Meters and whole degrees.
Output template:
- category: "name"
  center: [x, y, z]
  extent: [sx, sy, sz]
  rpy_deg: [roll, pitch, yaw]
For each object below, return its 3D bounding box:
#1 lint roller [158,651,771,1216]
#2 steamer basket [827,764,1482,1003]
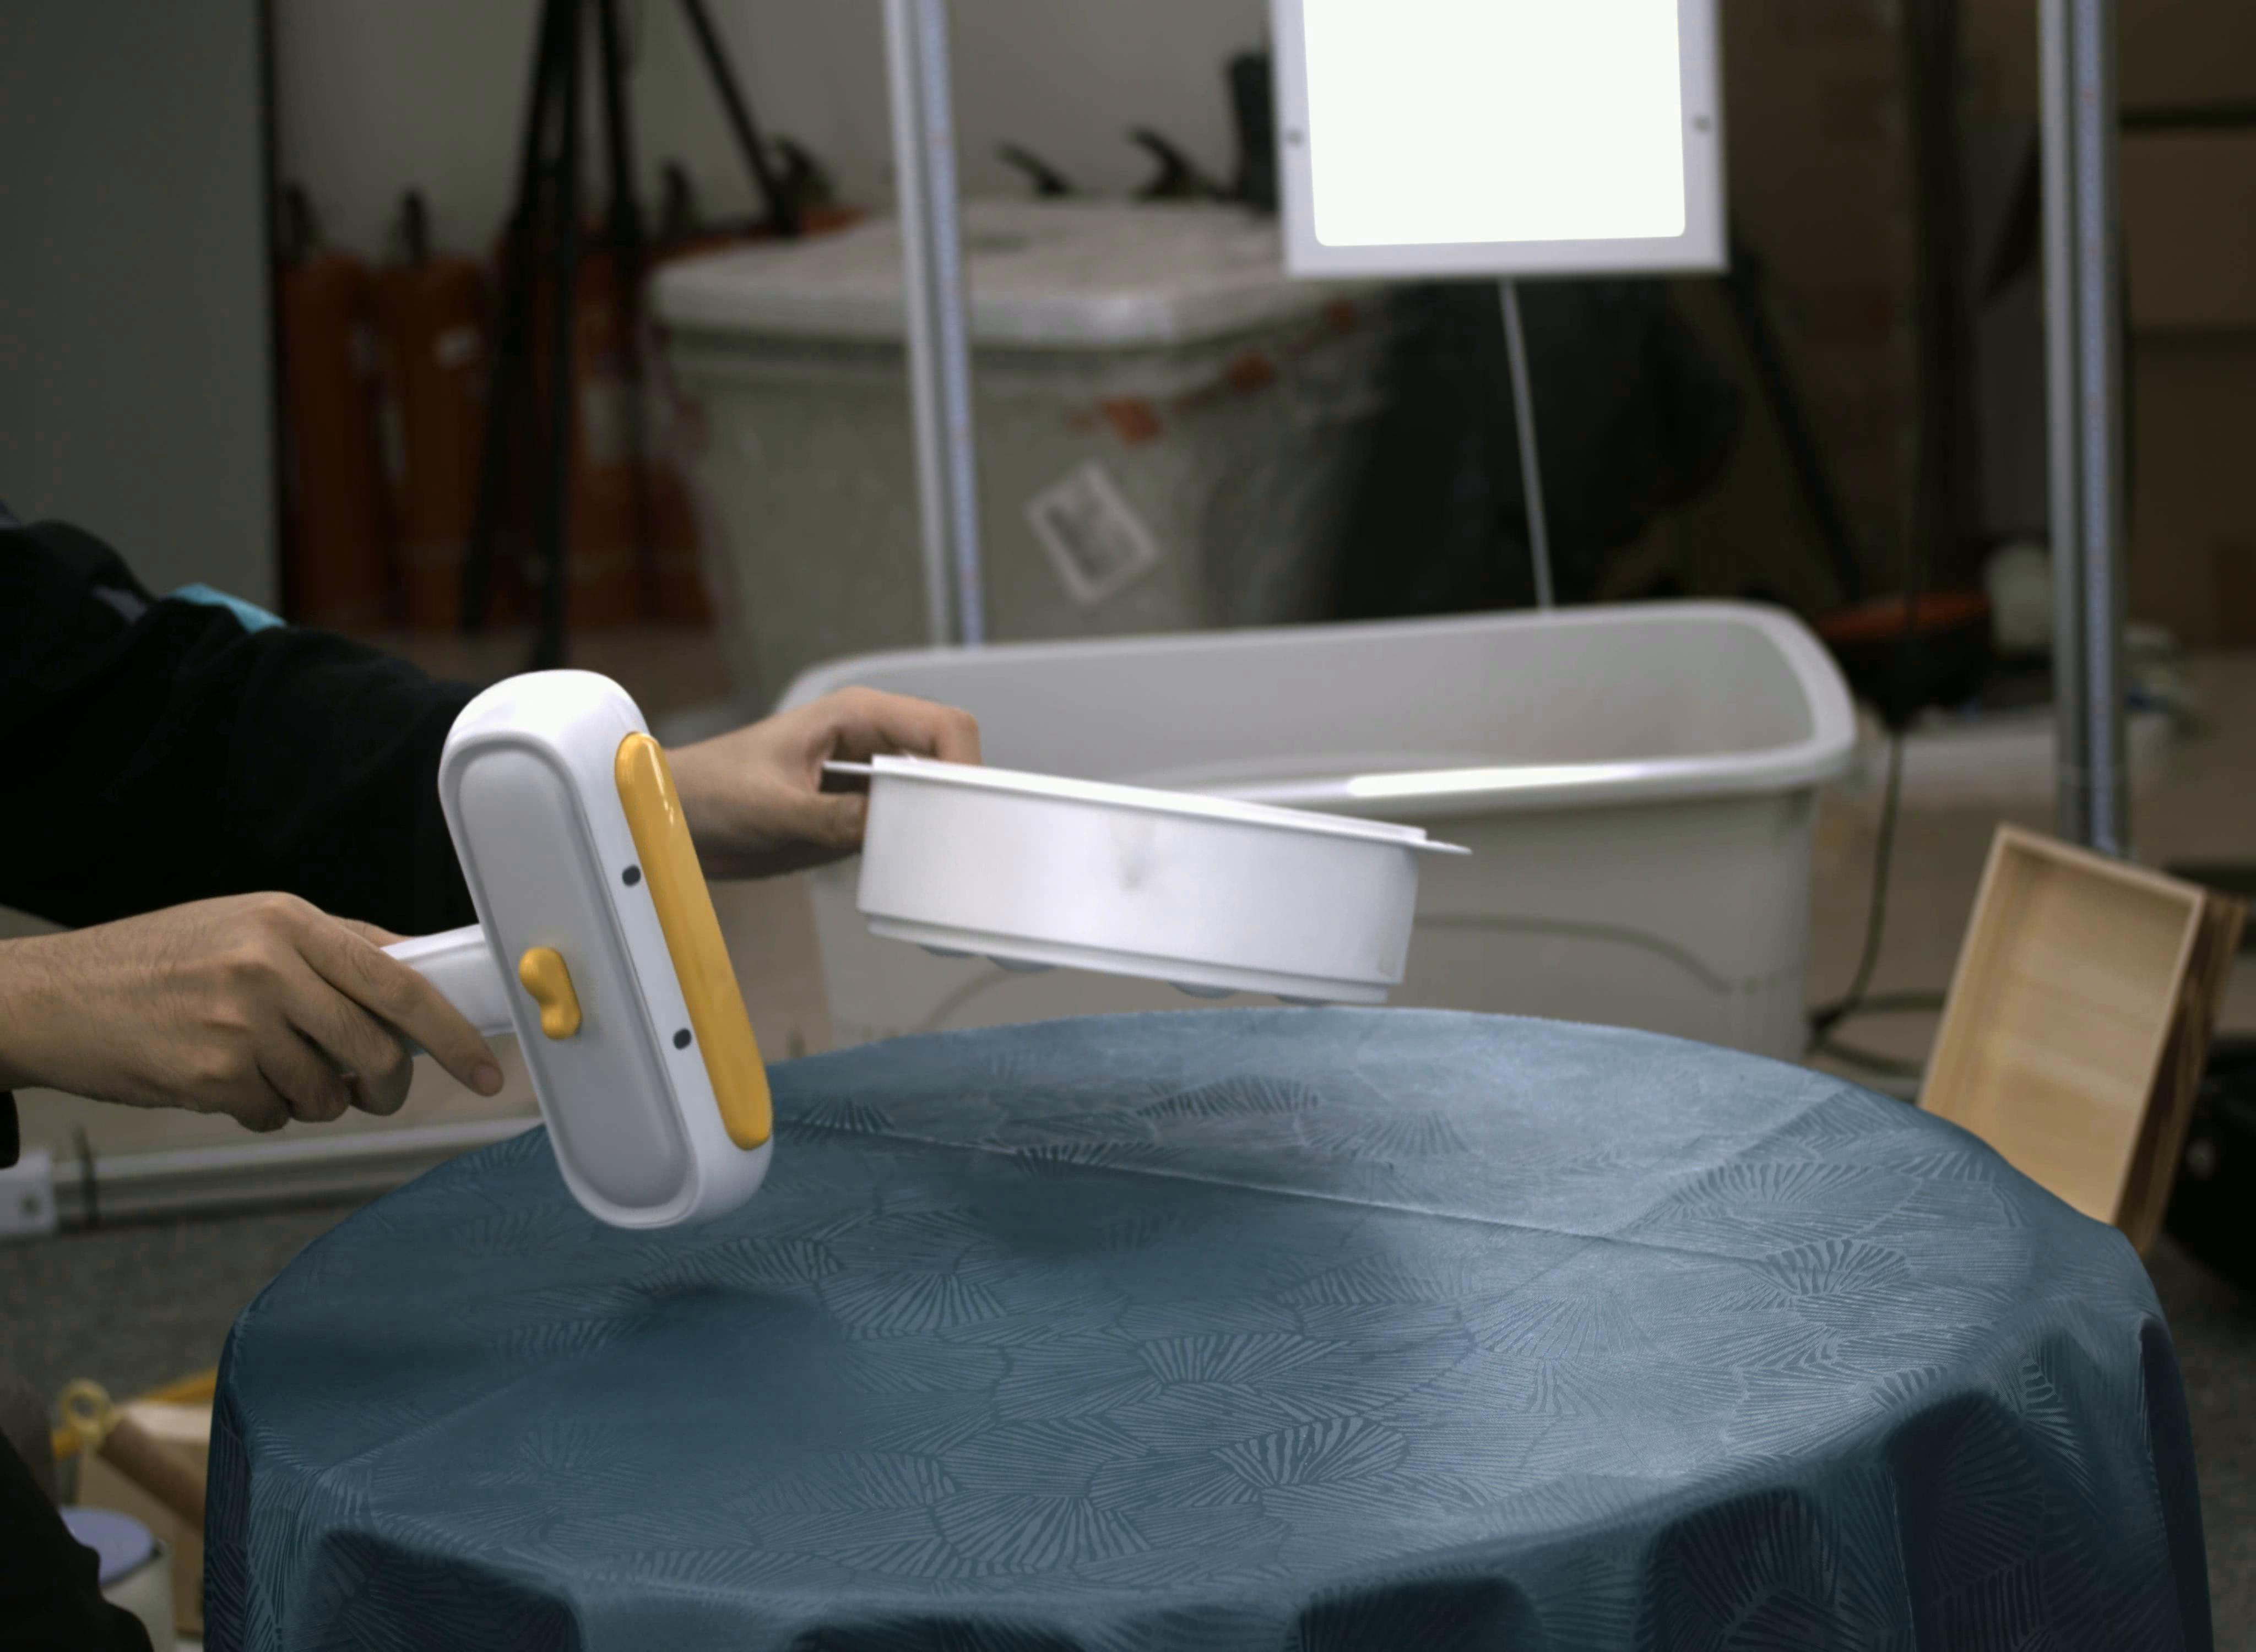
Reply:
- category: "lint roller"
  center: [-0.228, 0.053, 1.821]
  extent: [0.195, 0.193, 0.073]
  rpy_deg: [-14, 17, 24]
- category: "steamer basket"
  center: [0.007, 0.022, 1.918]
  extent: [0.231, 0.069, 0.201]
  rpy_deg: [6, -2, 7]
